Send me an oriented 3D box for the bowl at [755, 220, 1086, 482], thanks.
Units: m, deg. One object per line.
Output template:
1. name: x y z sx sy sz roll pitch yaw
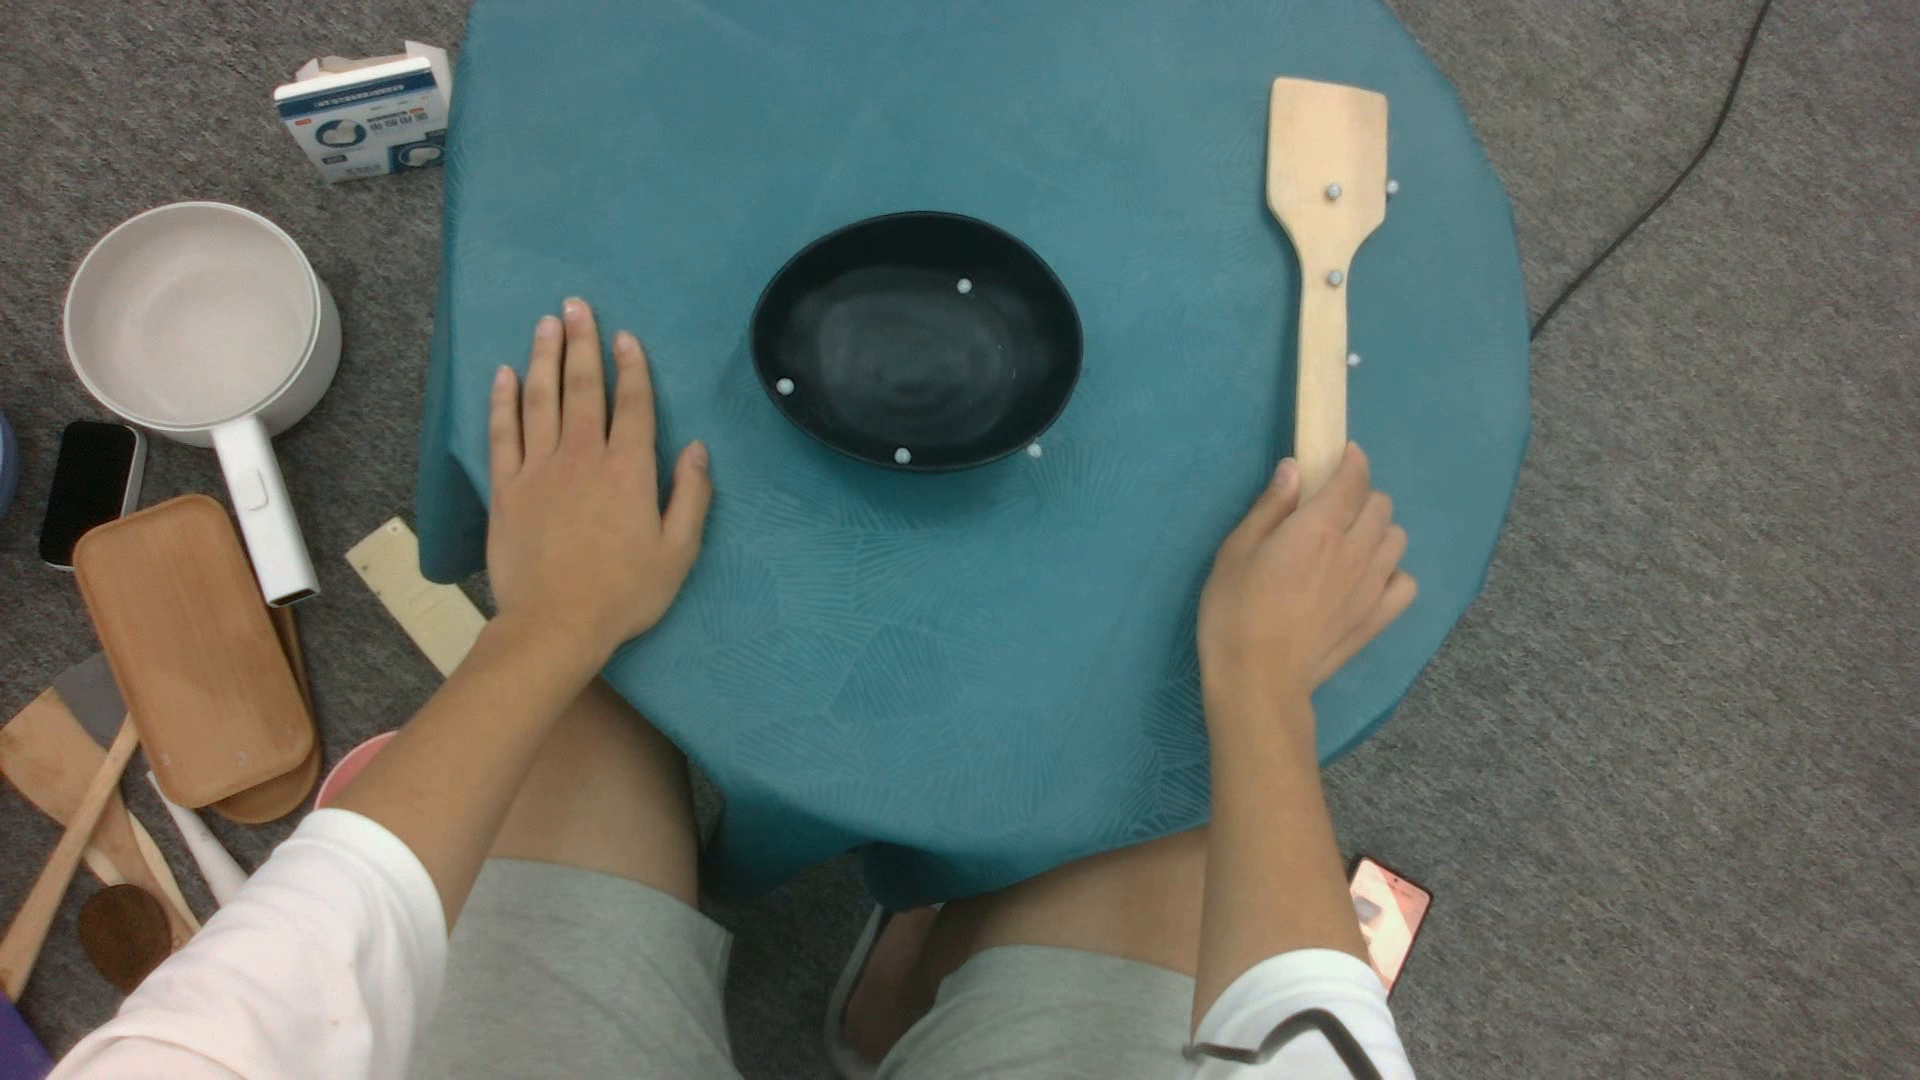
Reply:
1. bowl: -0.021 -0.092 0.727 0.170 0.066 0.137 -1 79 -5

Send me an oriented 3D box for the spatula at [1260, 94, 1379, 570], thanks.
1. spatula: 0.203 -0.123 0.777 0.072 0.010 0.294 7 72 -6
